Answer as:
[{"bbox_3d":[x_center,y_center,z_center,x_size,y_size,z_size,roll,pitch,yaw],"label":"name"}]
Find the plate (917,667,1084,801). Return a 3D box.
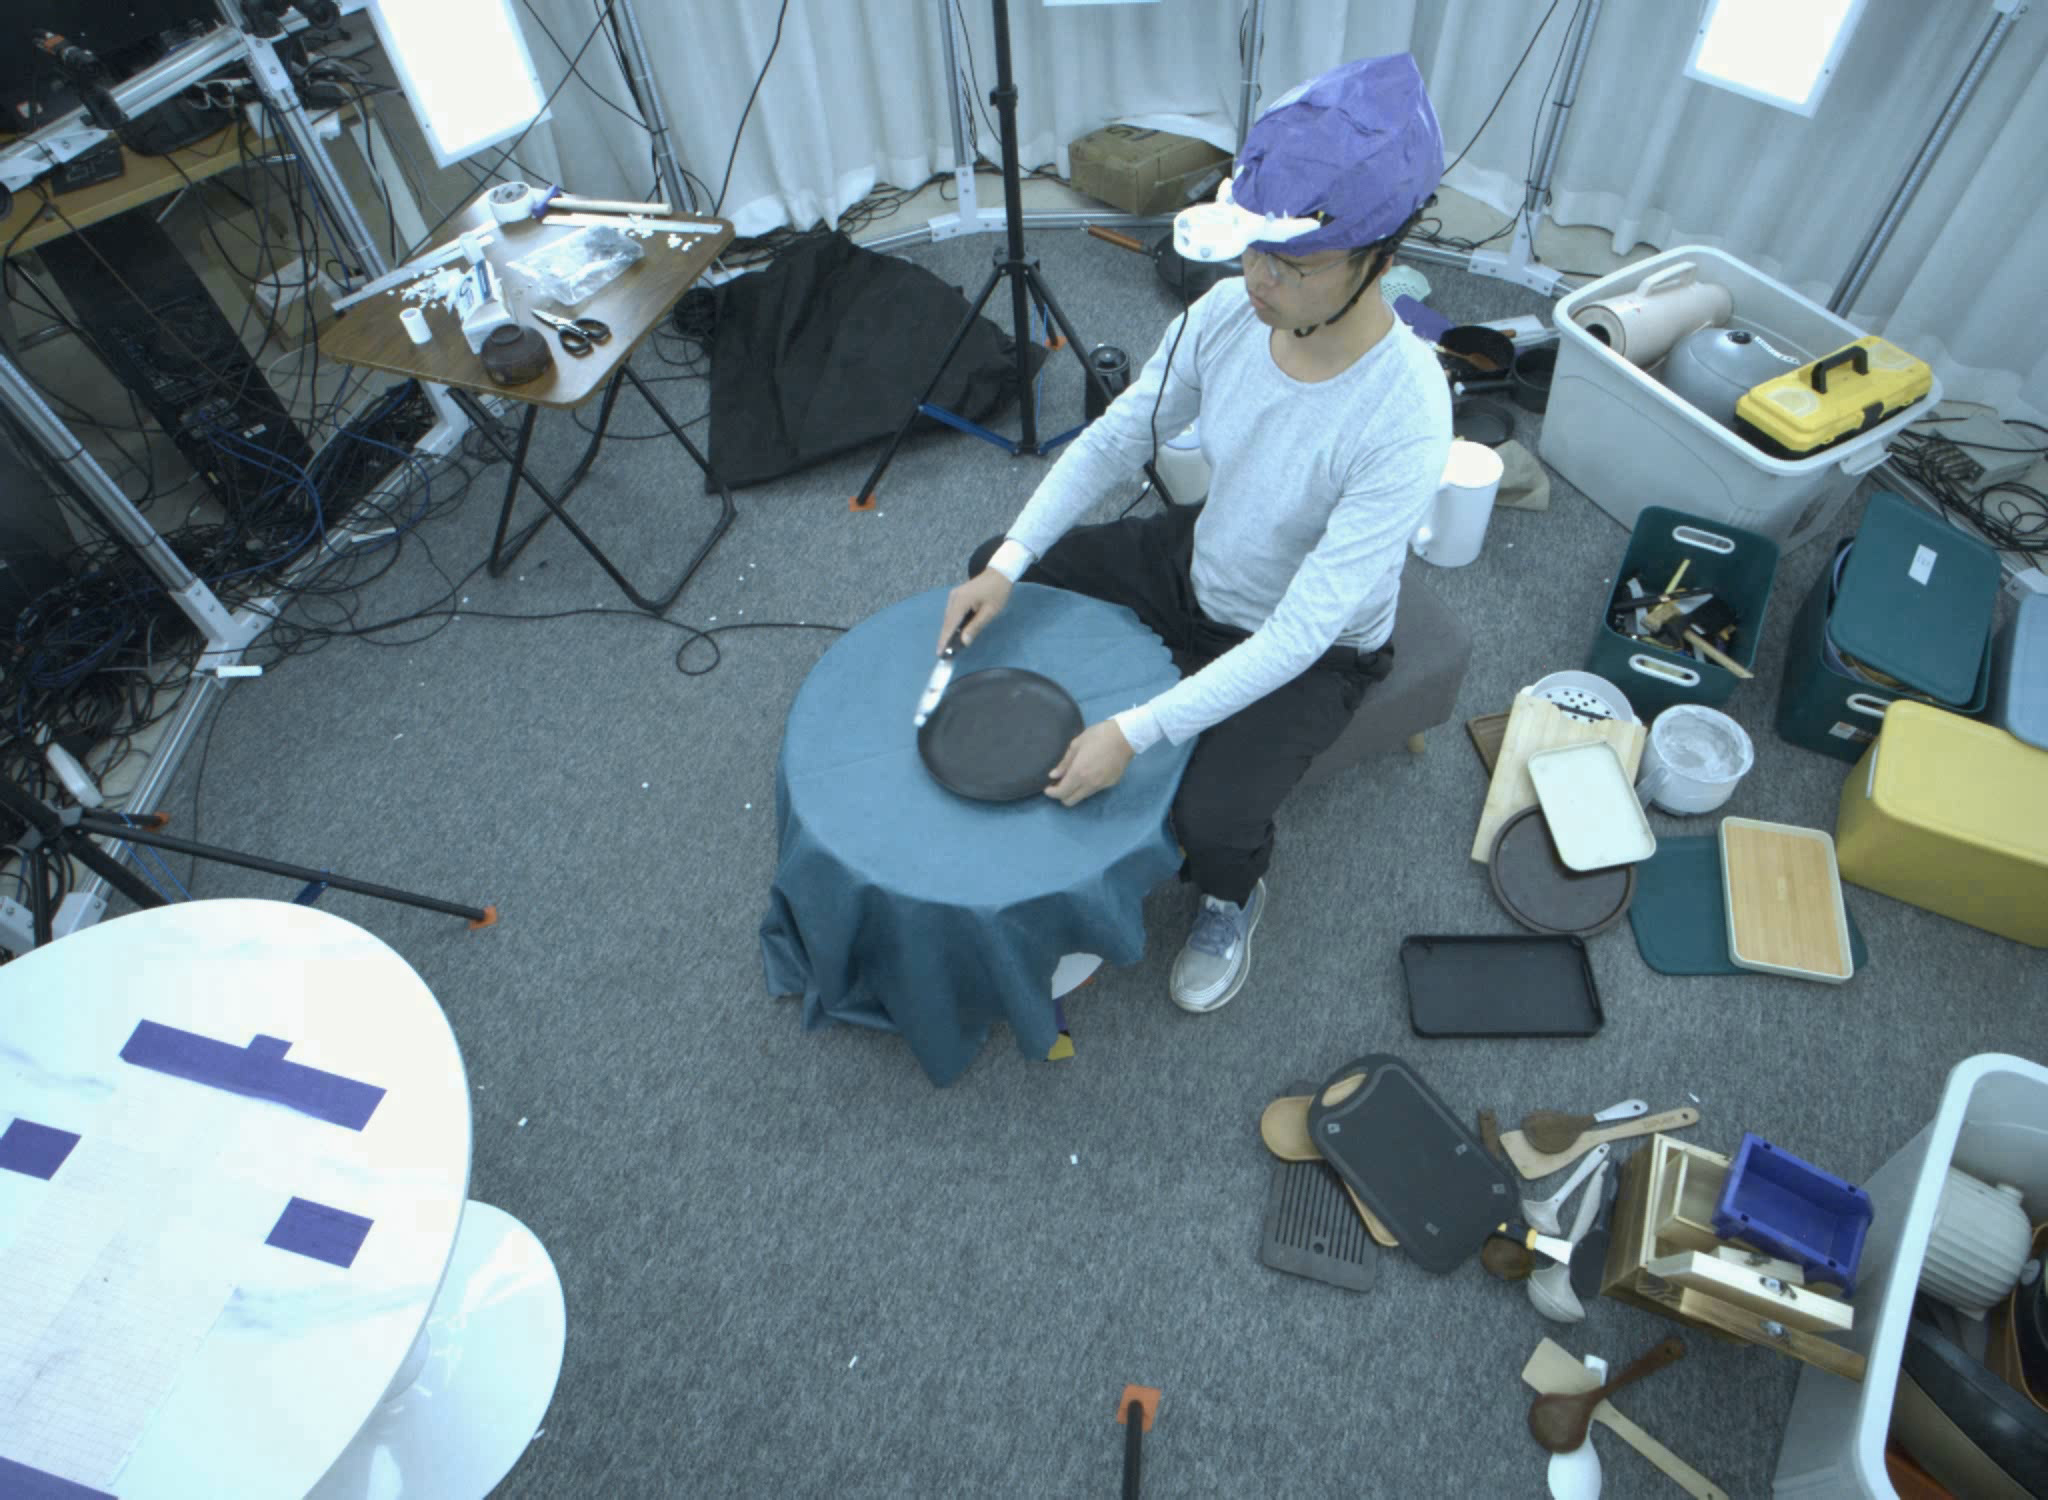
[{"bbox_3d":[-0.034,-0.022,1.798,0.244,0.023,0.242,0,54,1],"label":"plate"}]

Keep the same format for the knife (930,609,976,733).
[{"bbox_3d":[-0.109,-0.120,1.809,0.024,0.016,0.237,15,56,1],"label":"knife"}]
